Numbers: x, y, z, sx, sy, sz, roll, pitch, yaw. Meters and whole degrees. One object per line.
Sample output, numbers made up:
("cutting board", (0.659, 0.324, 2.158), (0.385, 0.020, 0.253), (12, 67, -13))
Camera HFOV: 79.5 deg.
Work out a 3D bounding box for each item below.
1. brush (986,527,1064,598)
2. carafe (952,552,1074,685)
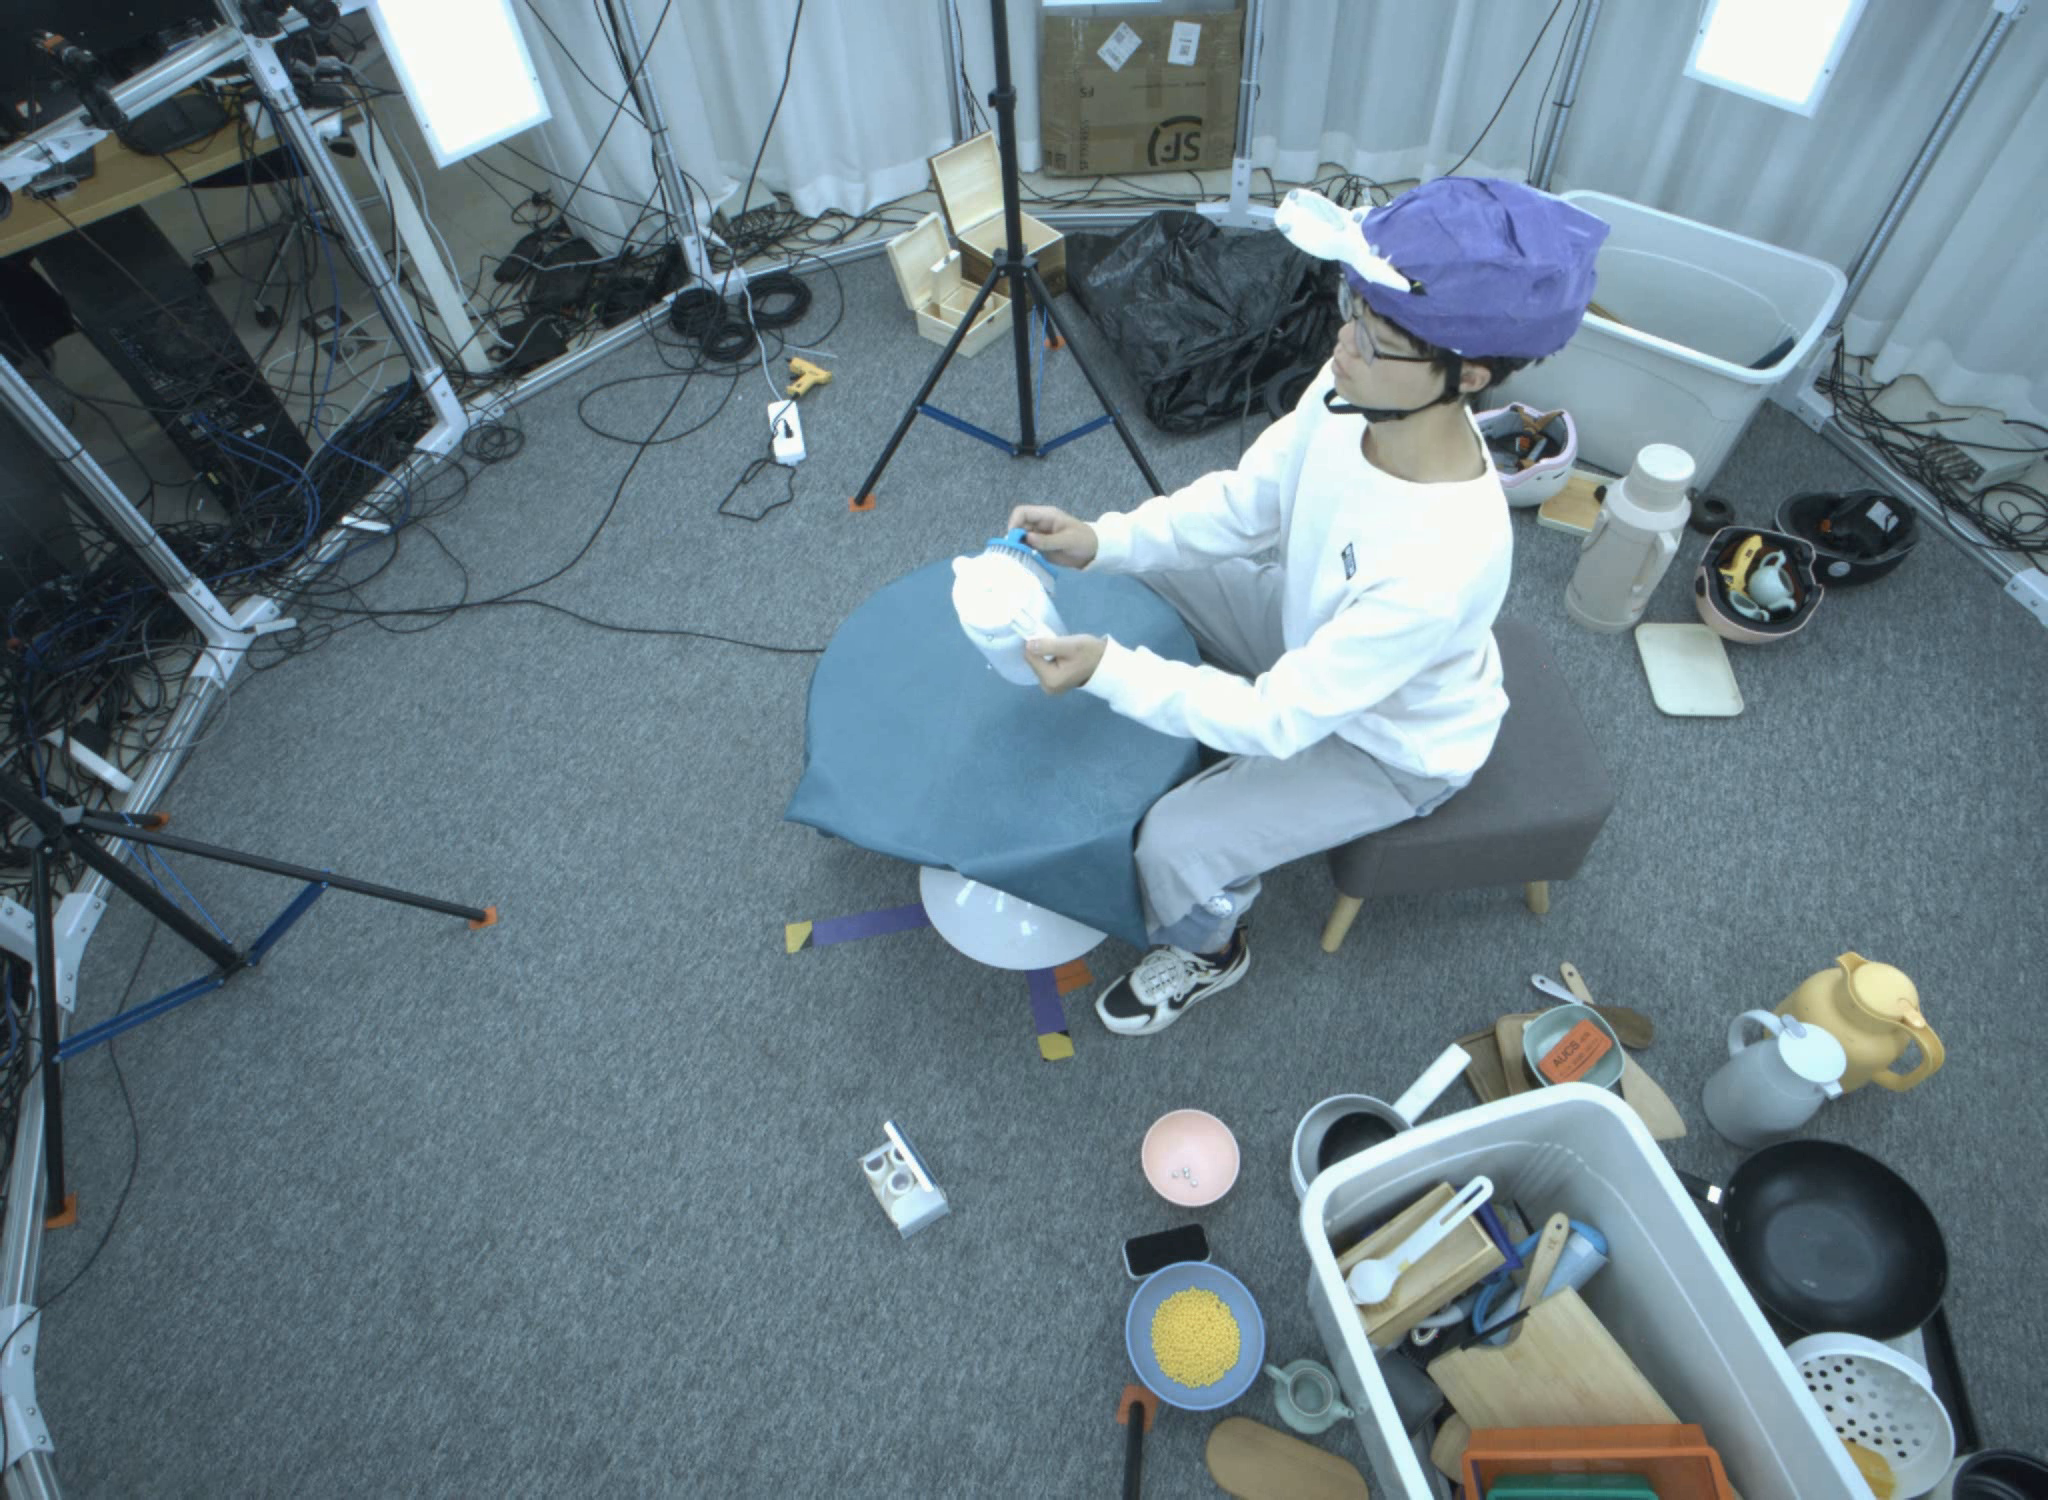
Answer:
("brush", (0.002, -0.261, 1.662), (0.083, 0.145, 0.063), (7, 78, 27))
("carafe", (-0.003, -0.163, 1.641), (0.171, 0.271, 0.124), (43, 87, 15))
